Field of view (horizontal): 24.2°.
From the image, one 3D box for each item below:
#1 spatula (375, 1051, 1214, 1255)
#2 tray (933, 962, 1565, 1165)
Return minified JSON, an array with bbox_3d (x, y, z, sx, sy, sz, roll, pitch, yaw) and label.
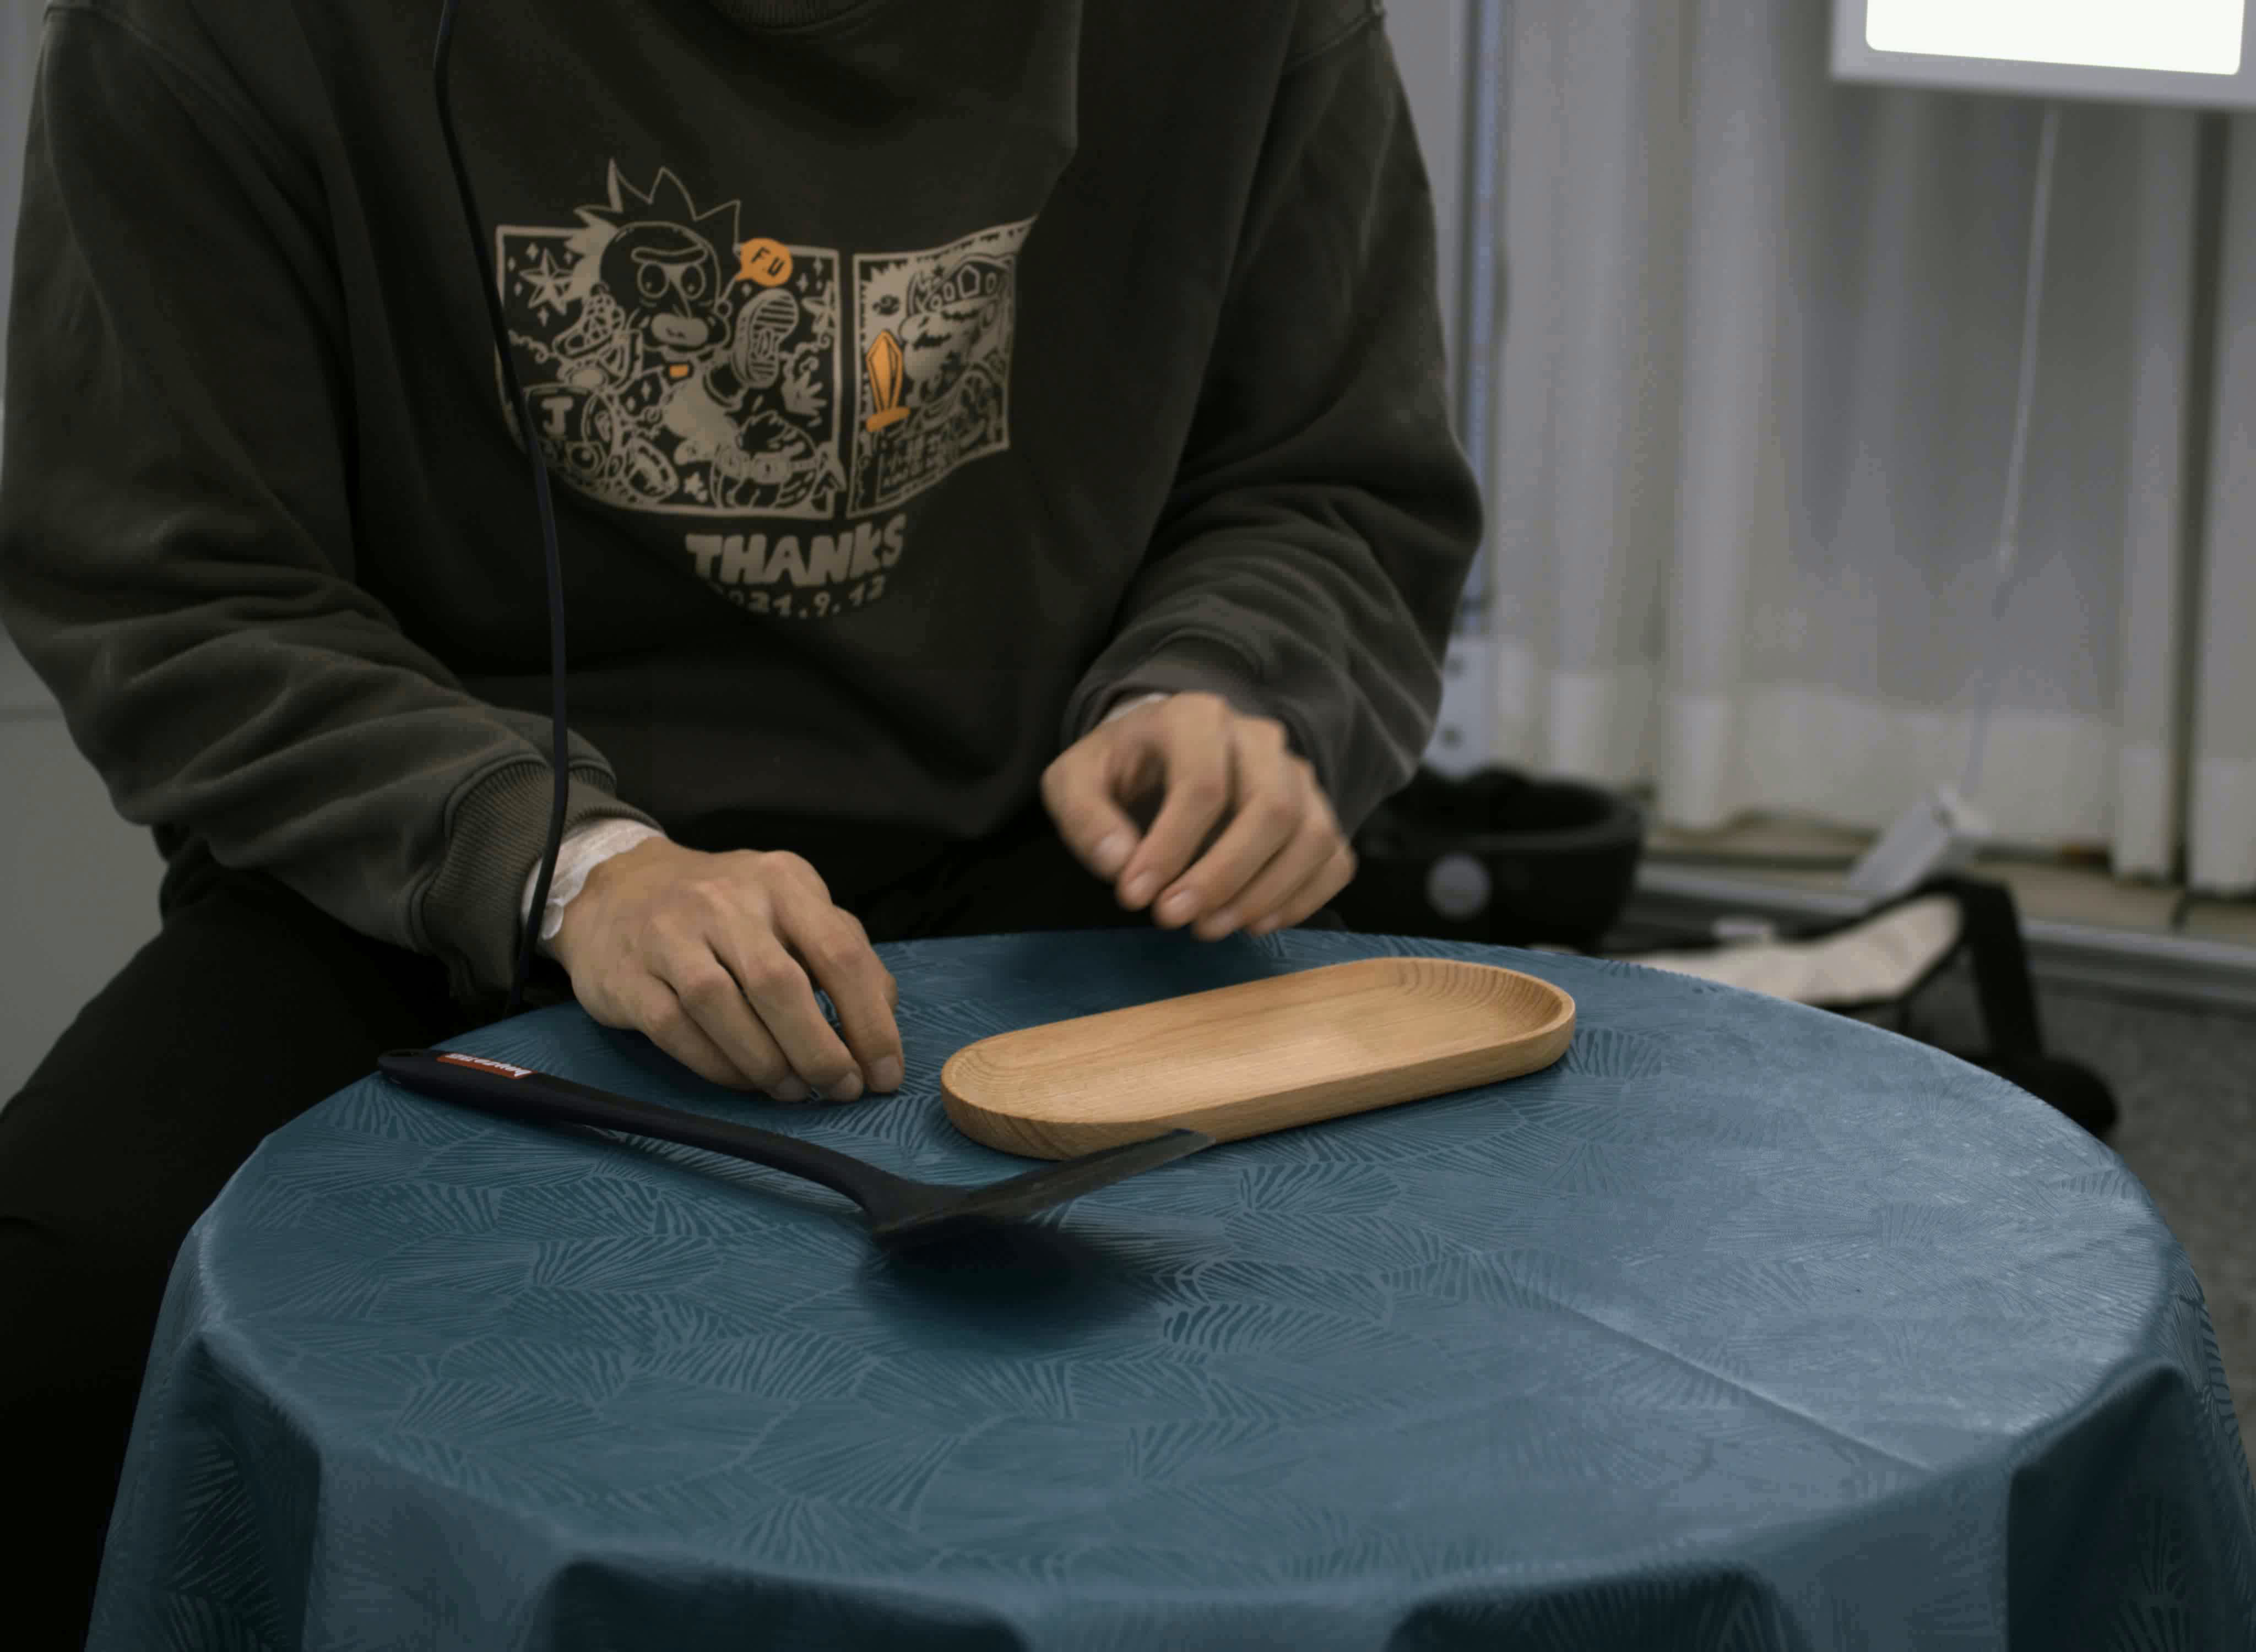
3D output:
[{"bbox_3d":[-0.122,0.092,1.632,0.322,0.040,0.100,13,18,38],"label":"spatula"},{"bbox_3d":[0.042,0.077,1.730,0.232,0.020,0.100,-11,19,-33],"label":"tray"}]
